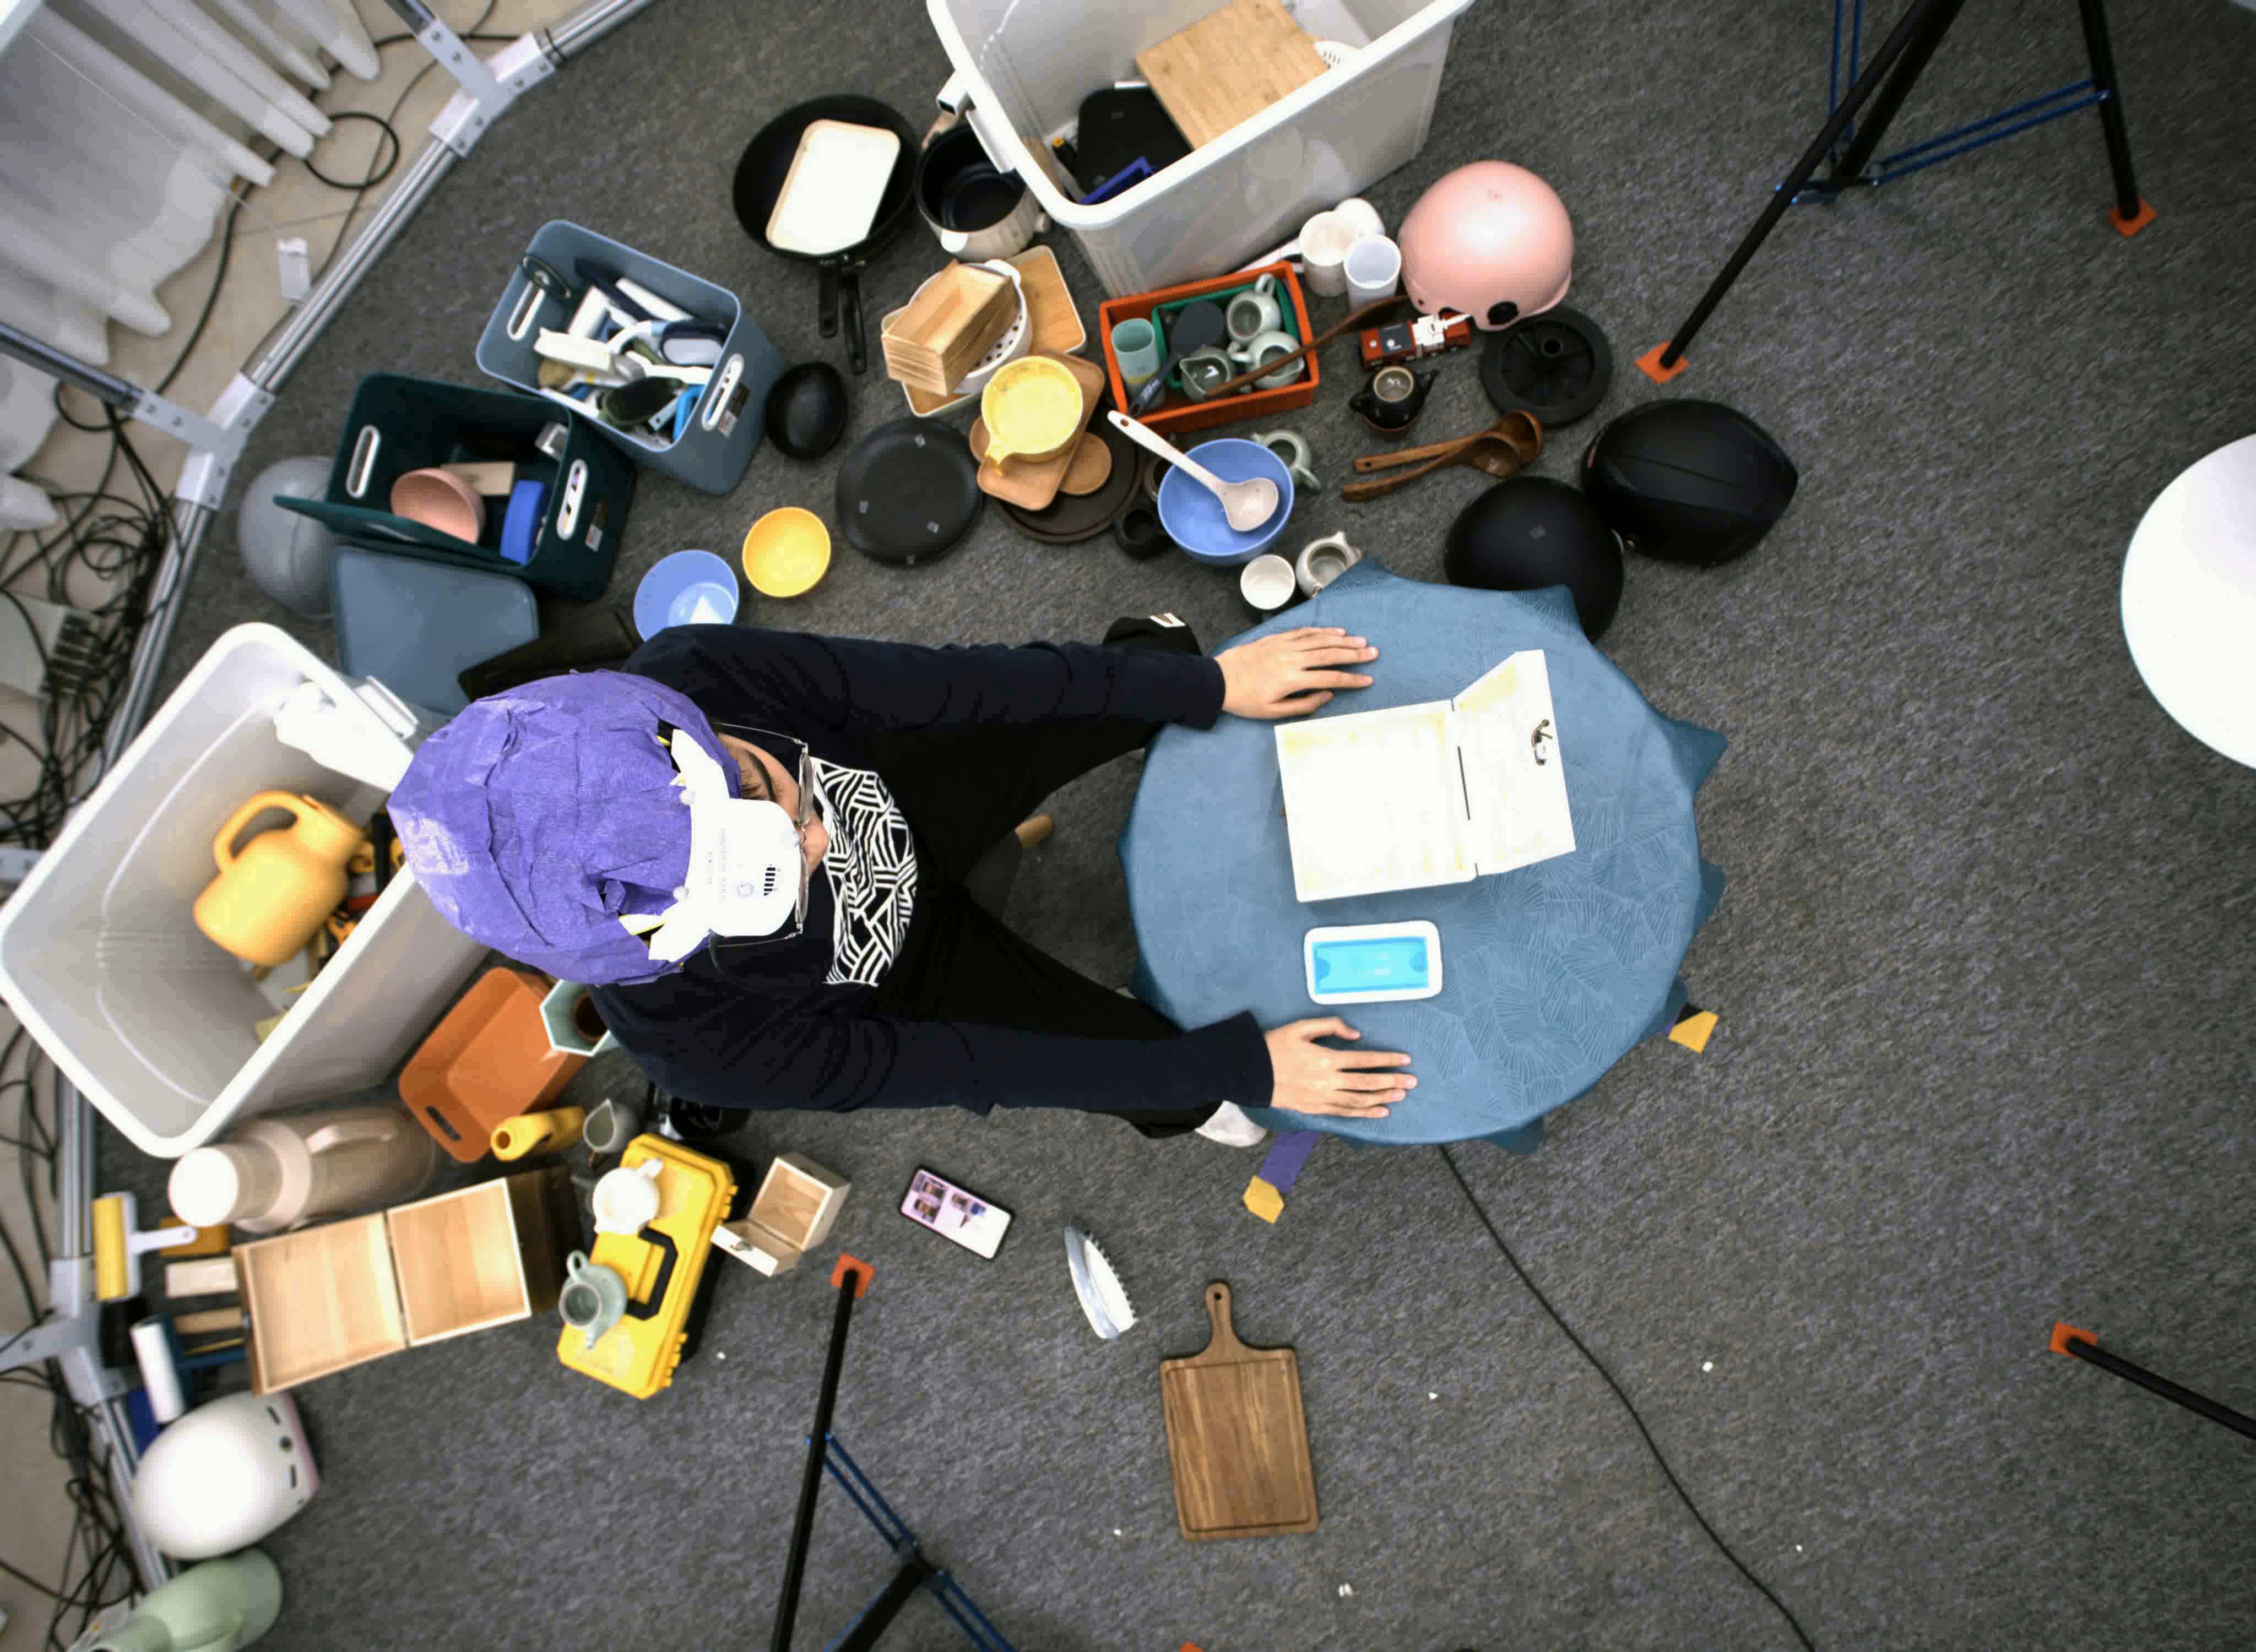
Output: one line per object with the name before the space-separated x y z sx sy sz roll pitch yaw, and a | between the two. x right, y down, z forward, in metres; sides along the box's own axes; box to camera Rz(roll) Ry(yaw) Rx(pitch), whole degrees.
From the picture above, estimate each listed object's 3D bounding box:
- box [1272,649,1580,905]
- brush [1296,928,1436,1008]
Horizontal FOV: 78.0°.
box | 0.273 -0.038 1.336 0.266 0.254 0.180 -9 83 9
brush | 0.246 0.143 1.429 0.144 0.056 0.083 -3 82 8
